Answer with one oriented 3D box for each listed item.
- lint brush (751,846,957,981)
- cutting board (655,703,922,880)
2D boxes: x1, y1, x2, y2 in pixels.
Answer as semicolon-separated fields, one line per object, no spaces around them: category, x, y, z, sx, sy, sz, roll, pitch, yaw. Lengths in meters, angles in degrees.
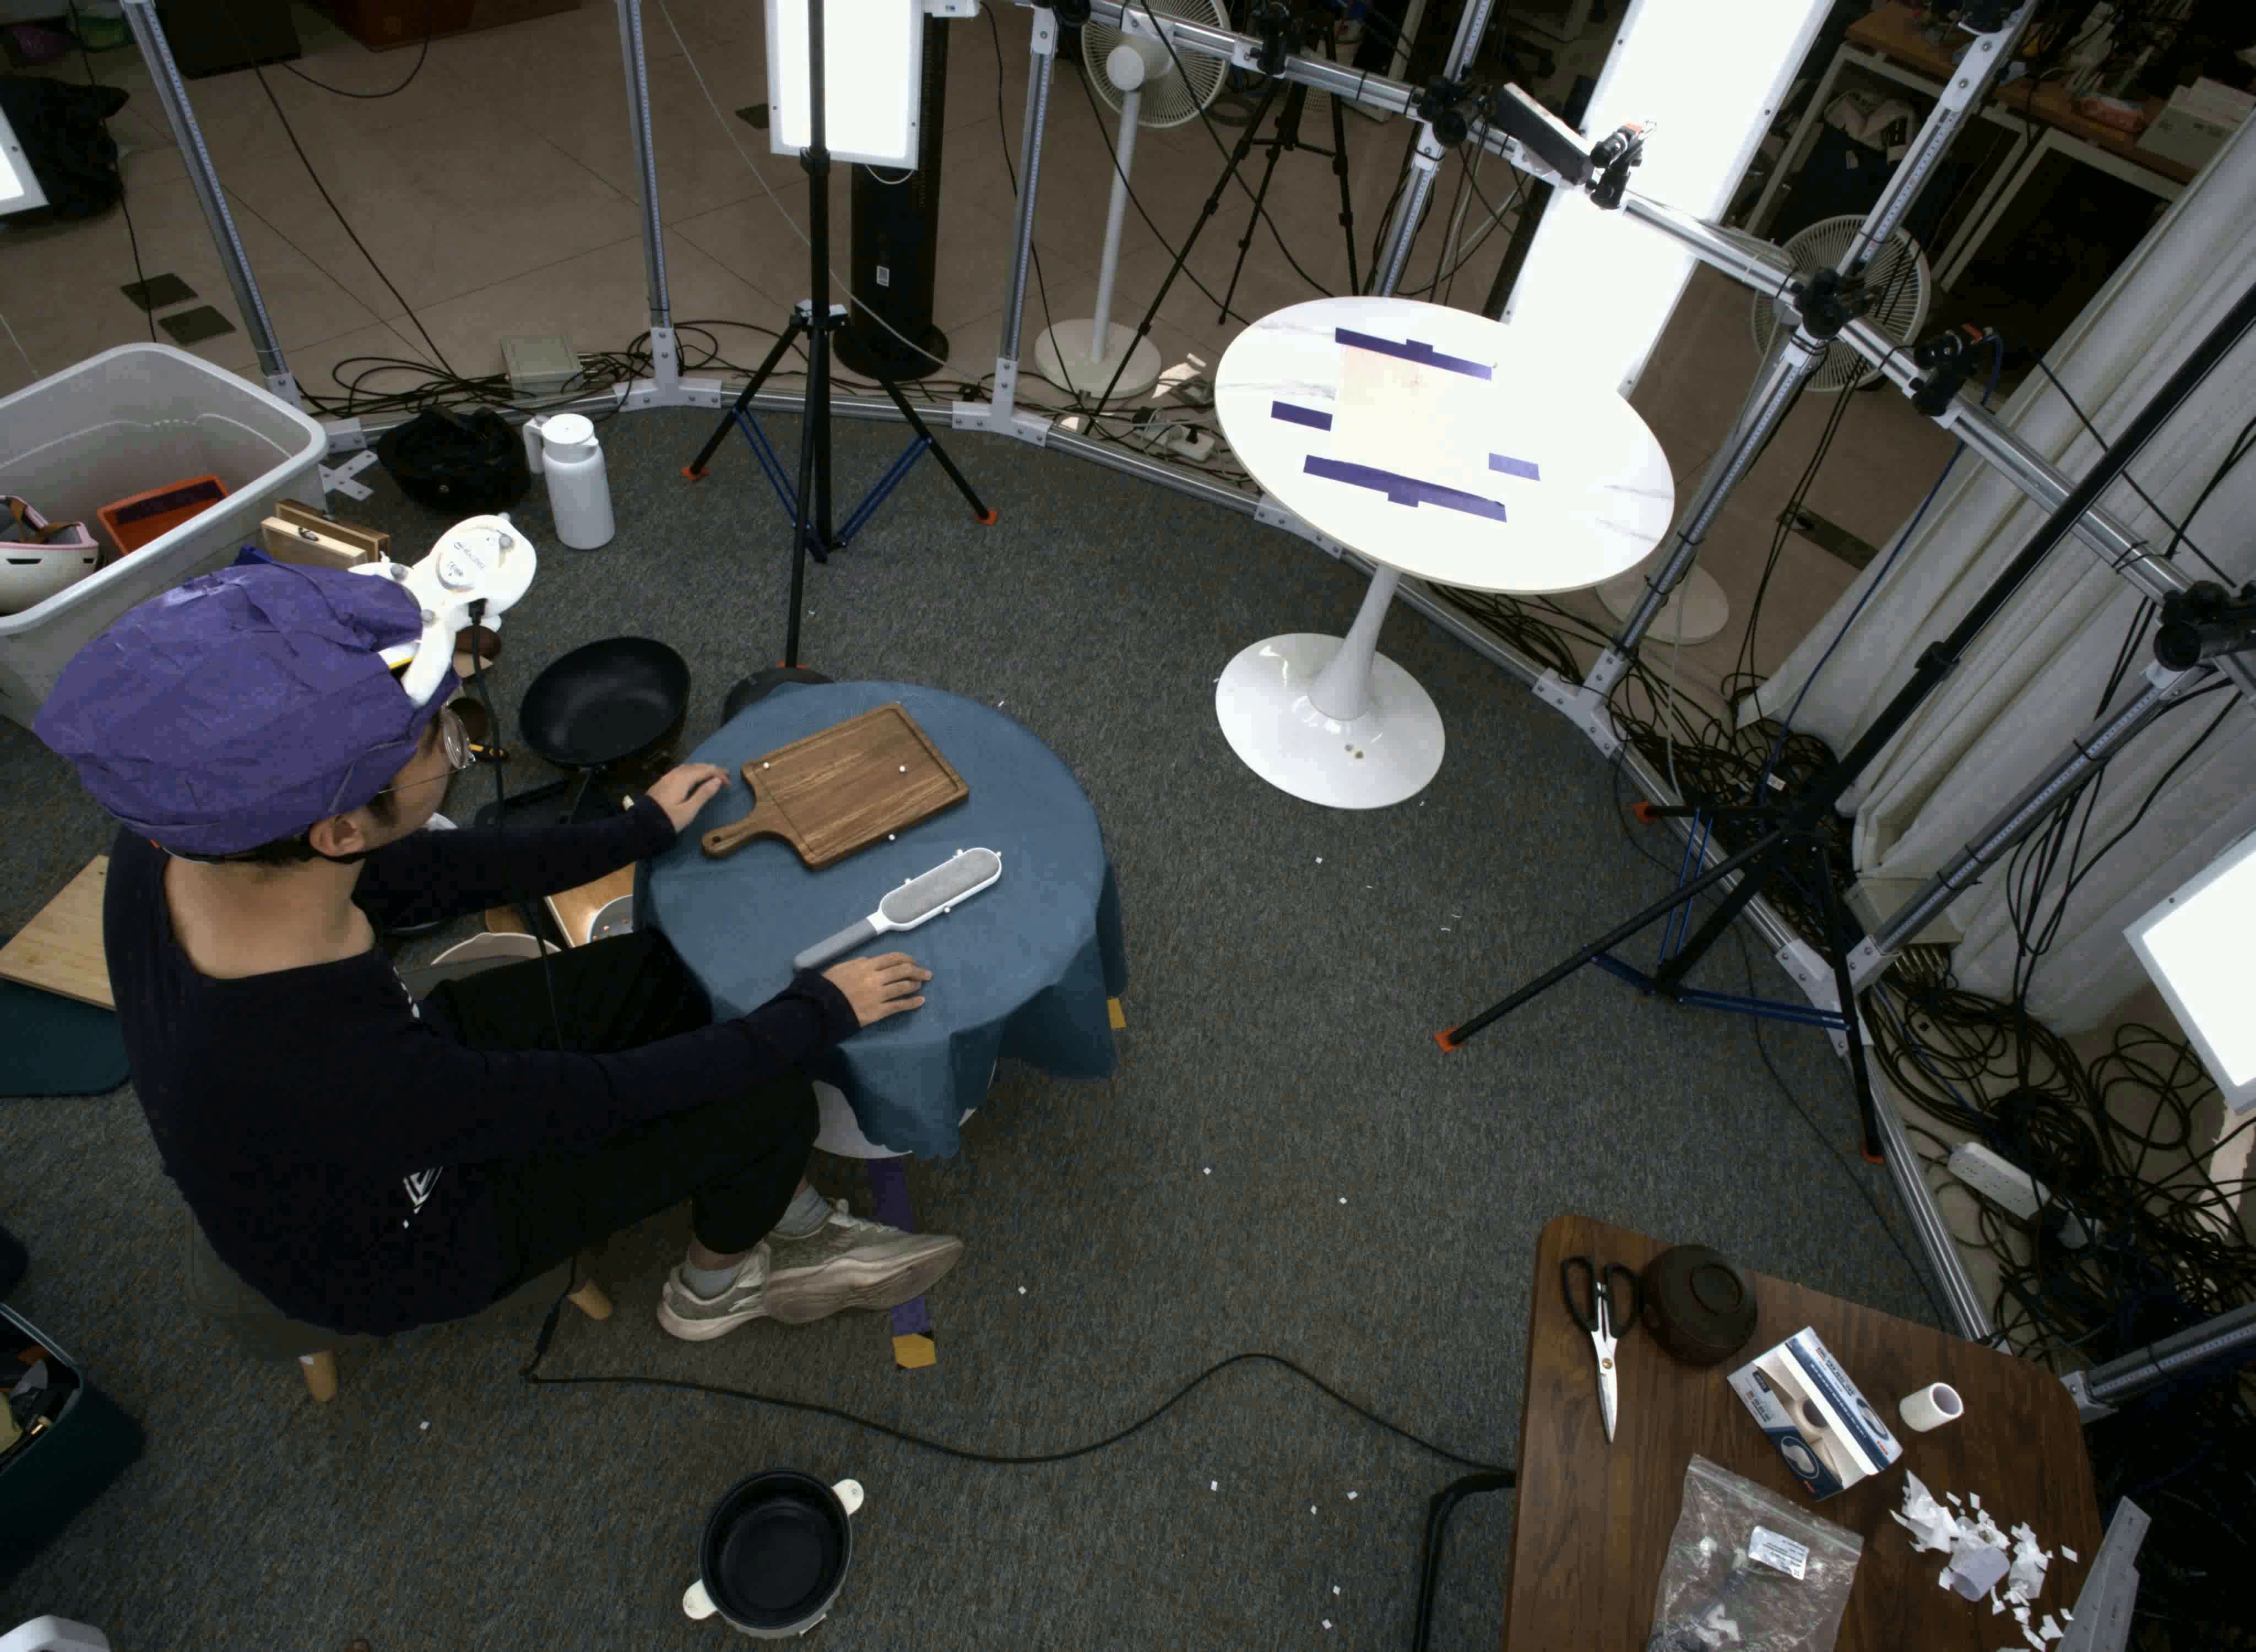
lint brush;-0.346;0.108;1.657;0.310;0.021;0.059;-32;72;-31
cutting board;-0.473;-0.032;1.734;0.353;0.023;0.196;-31;67;-31
